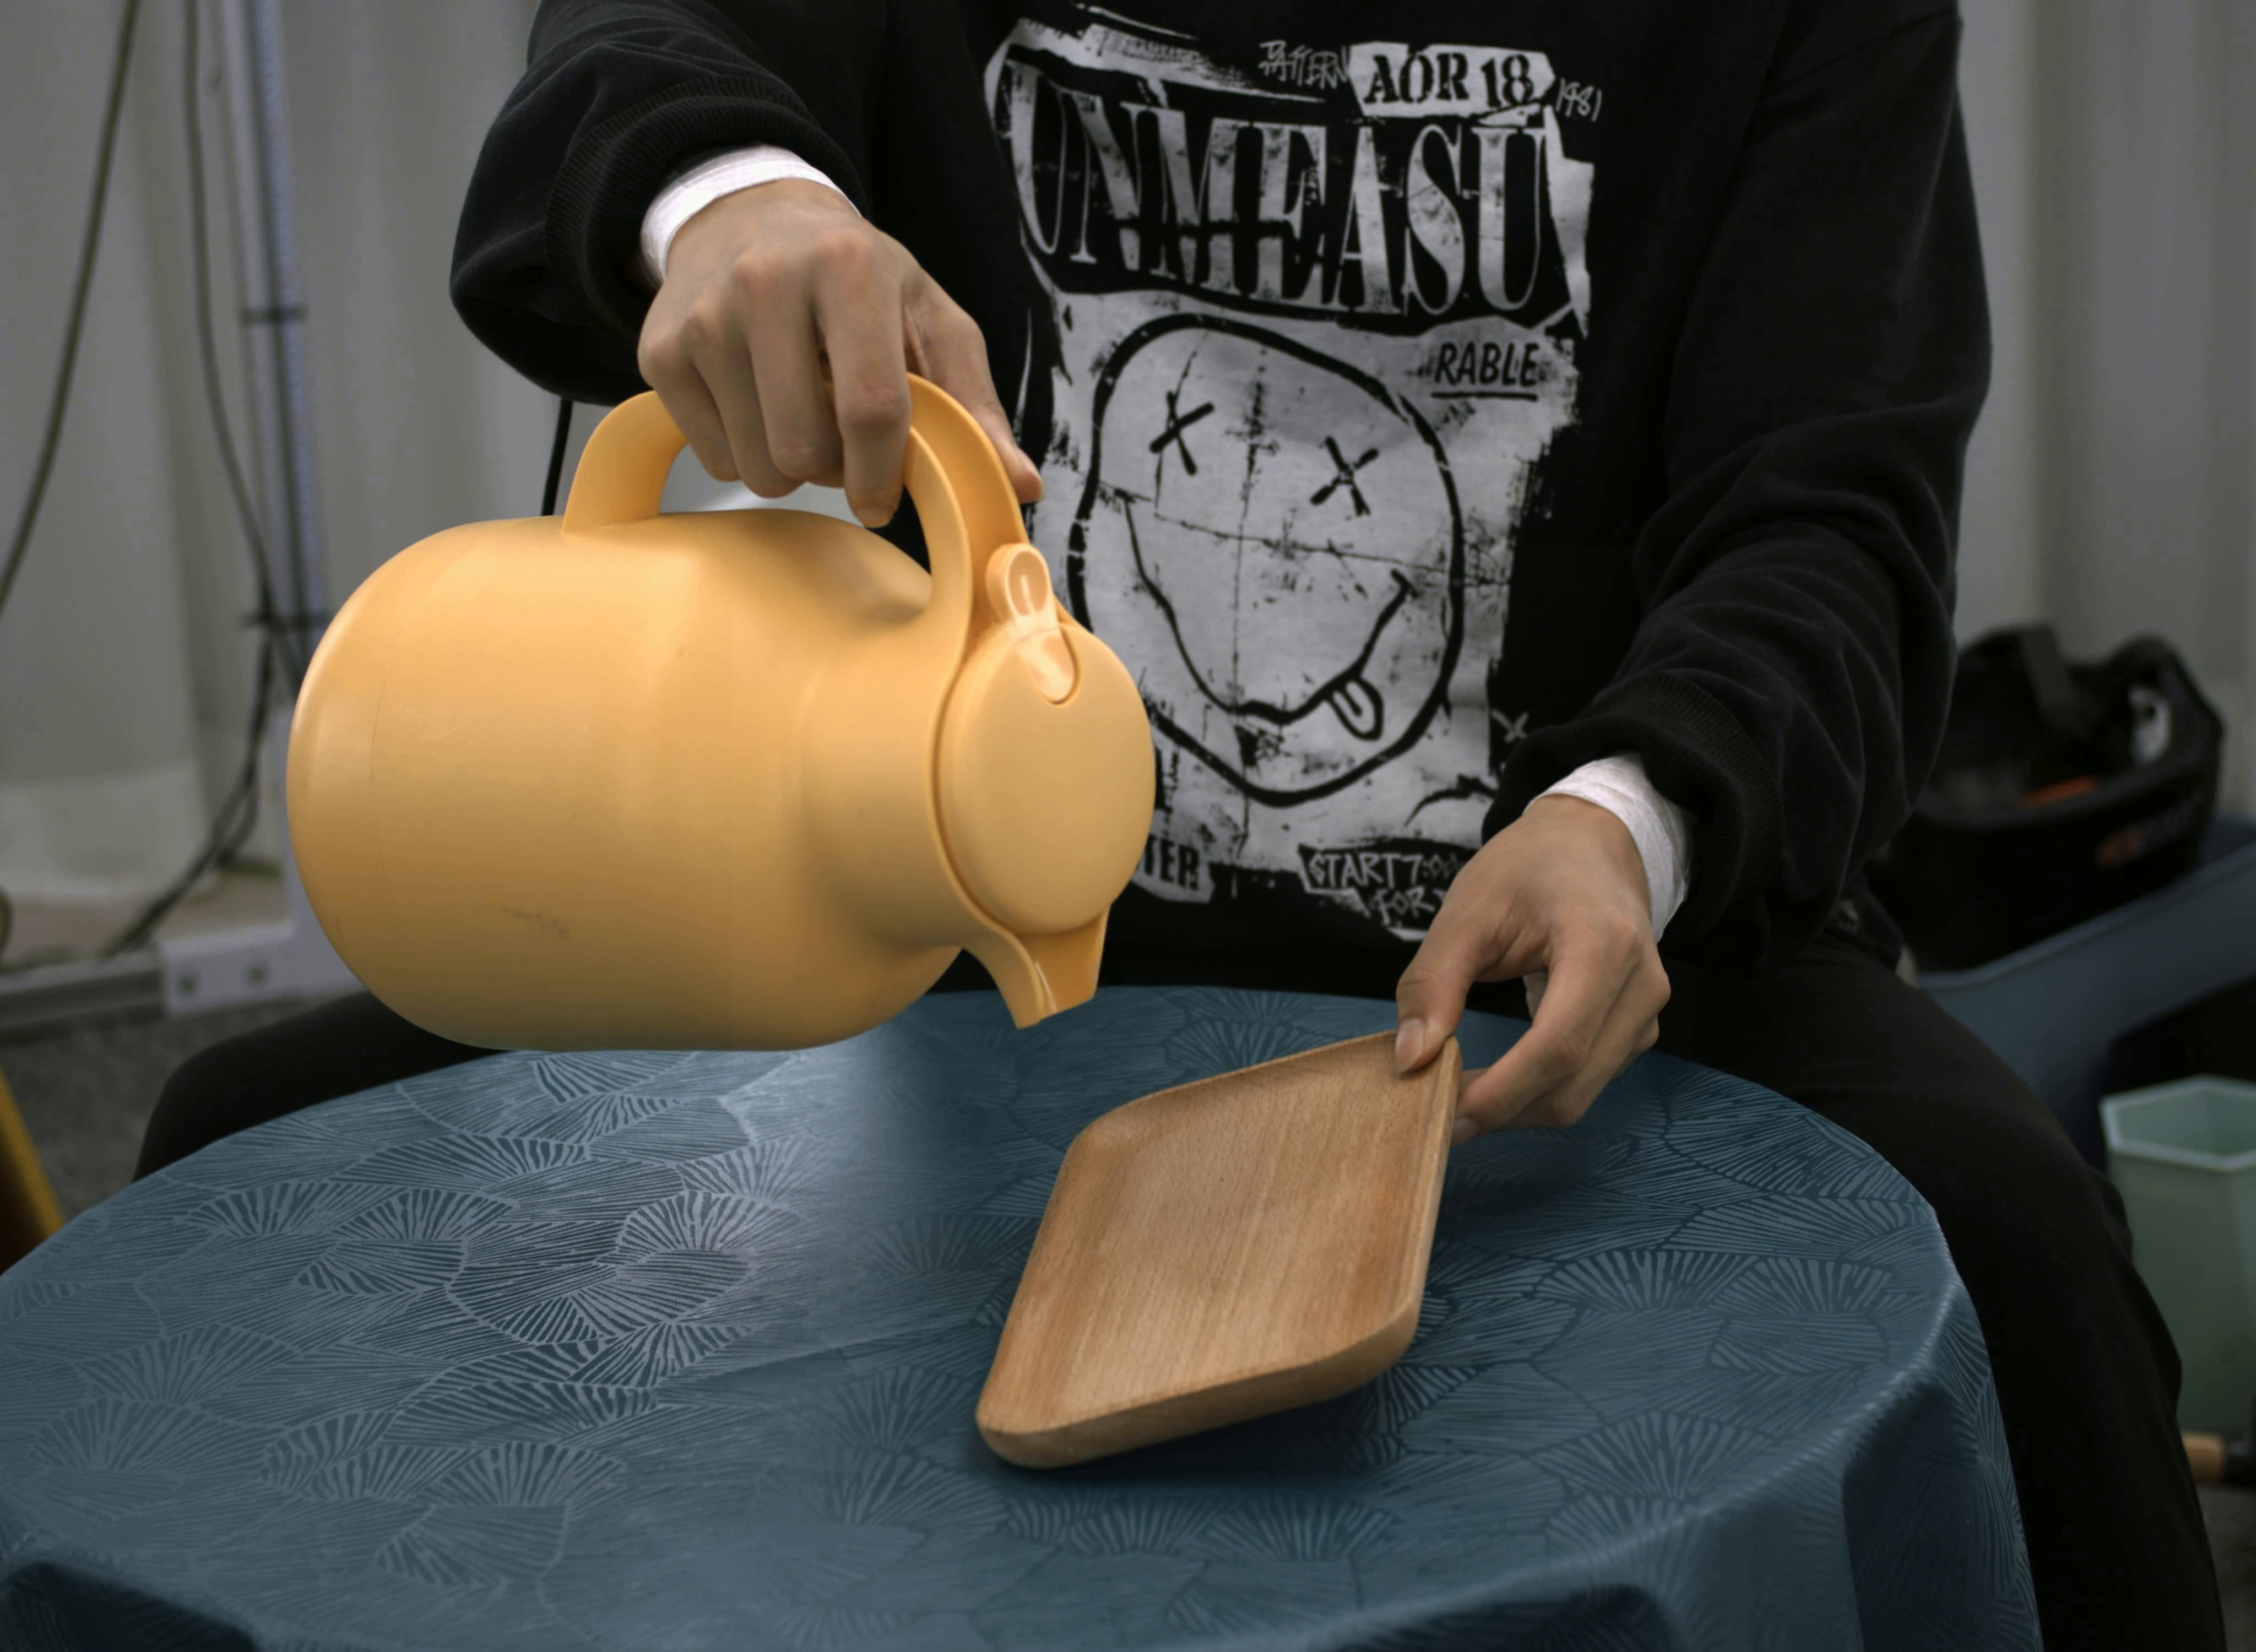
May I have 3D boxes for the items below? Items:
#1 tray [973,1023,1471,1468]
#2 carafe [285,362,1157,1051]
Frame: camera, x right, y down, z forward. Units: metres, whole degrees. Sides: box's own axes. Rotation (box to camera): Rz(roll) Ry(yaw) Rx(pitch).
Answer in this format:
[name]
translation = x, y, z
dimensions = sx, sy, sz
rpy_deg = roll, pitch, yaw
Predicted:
[tray]
translation = 0.032, 0.119, 1.583
dimensions = 0.130, 0.023, 0.252
rpy_deg = -13, 16, 12
[carafe]
translation = -0.116, -0.034, 1.616
dimensions = 0.261, 0.202, 0.163
rpy_deg = 1, 11, 37
